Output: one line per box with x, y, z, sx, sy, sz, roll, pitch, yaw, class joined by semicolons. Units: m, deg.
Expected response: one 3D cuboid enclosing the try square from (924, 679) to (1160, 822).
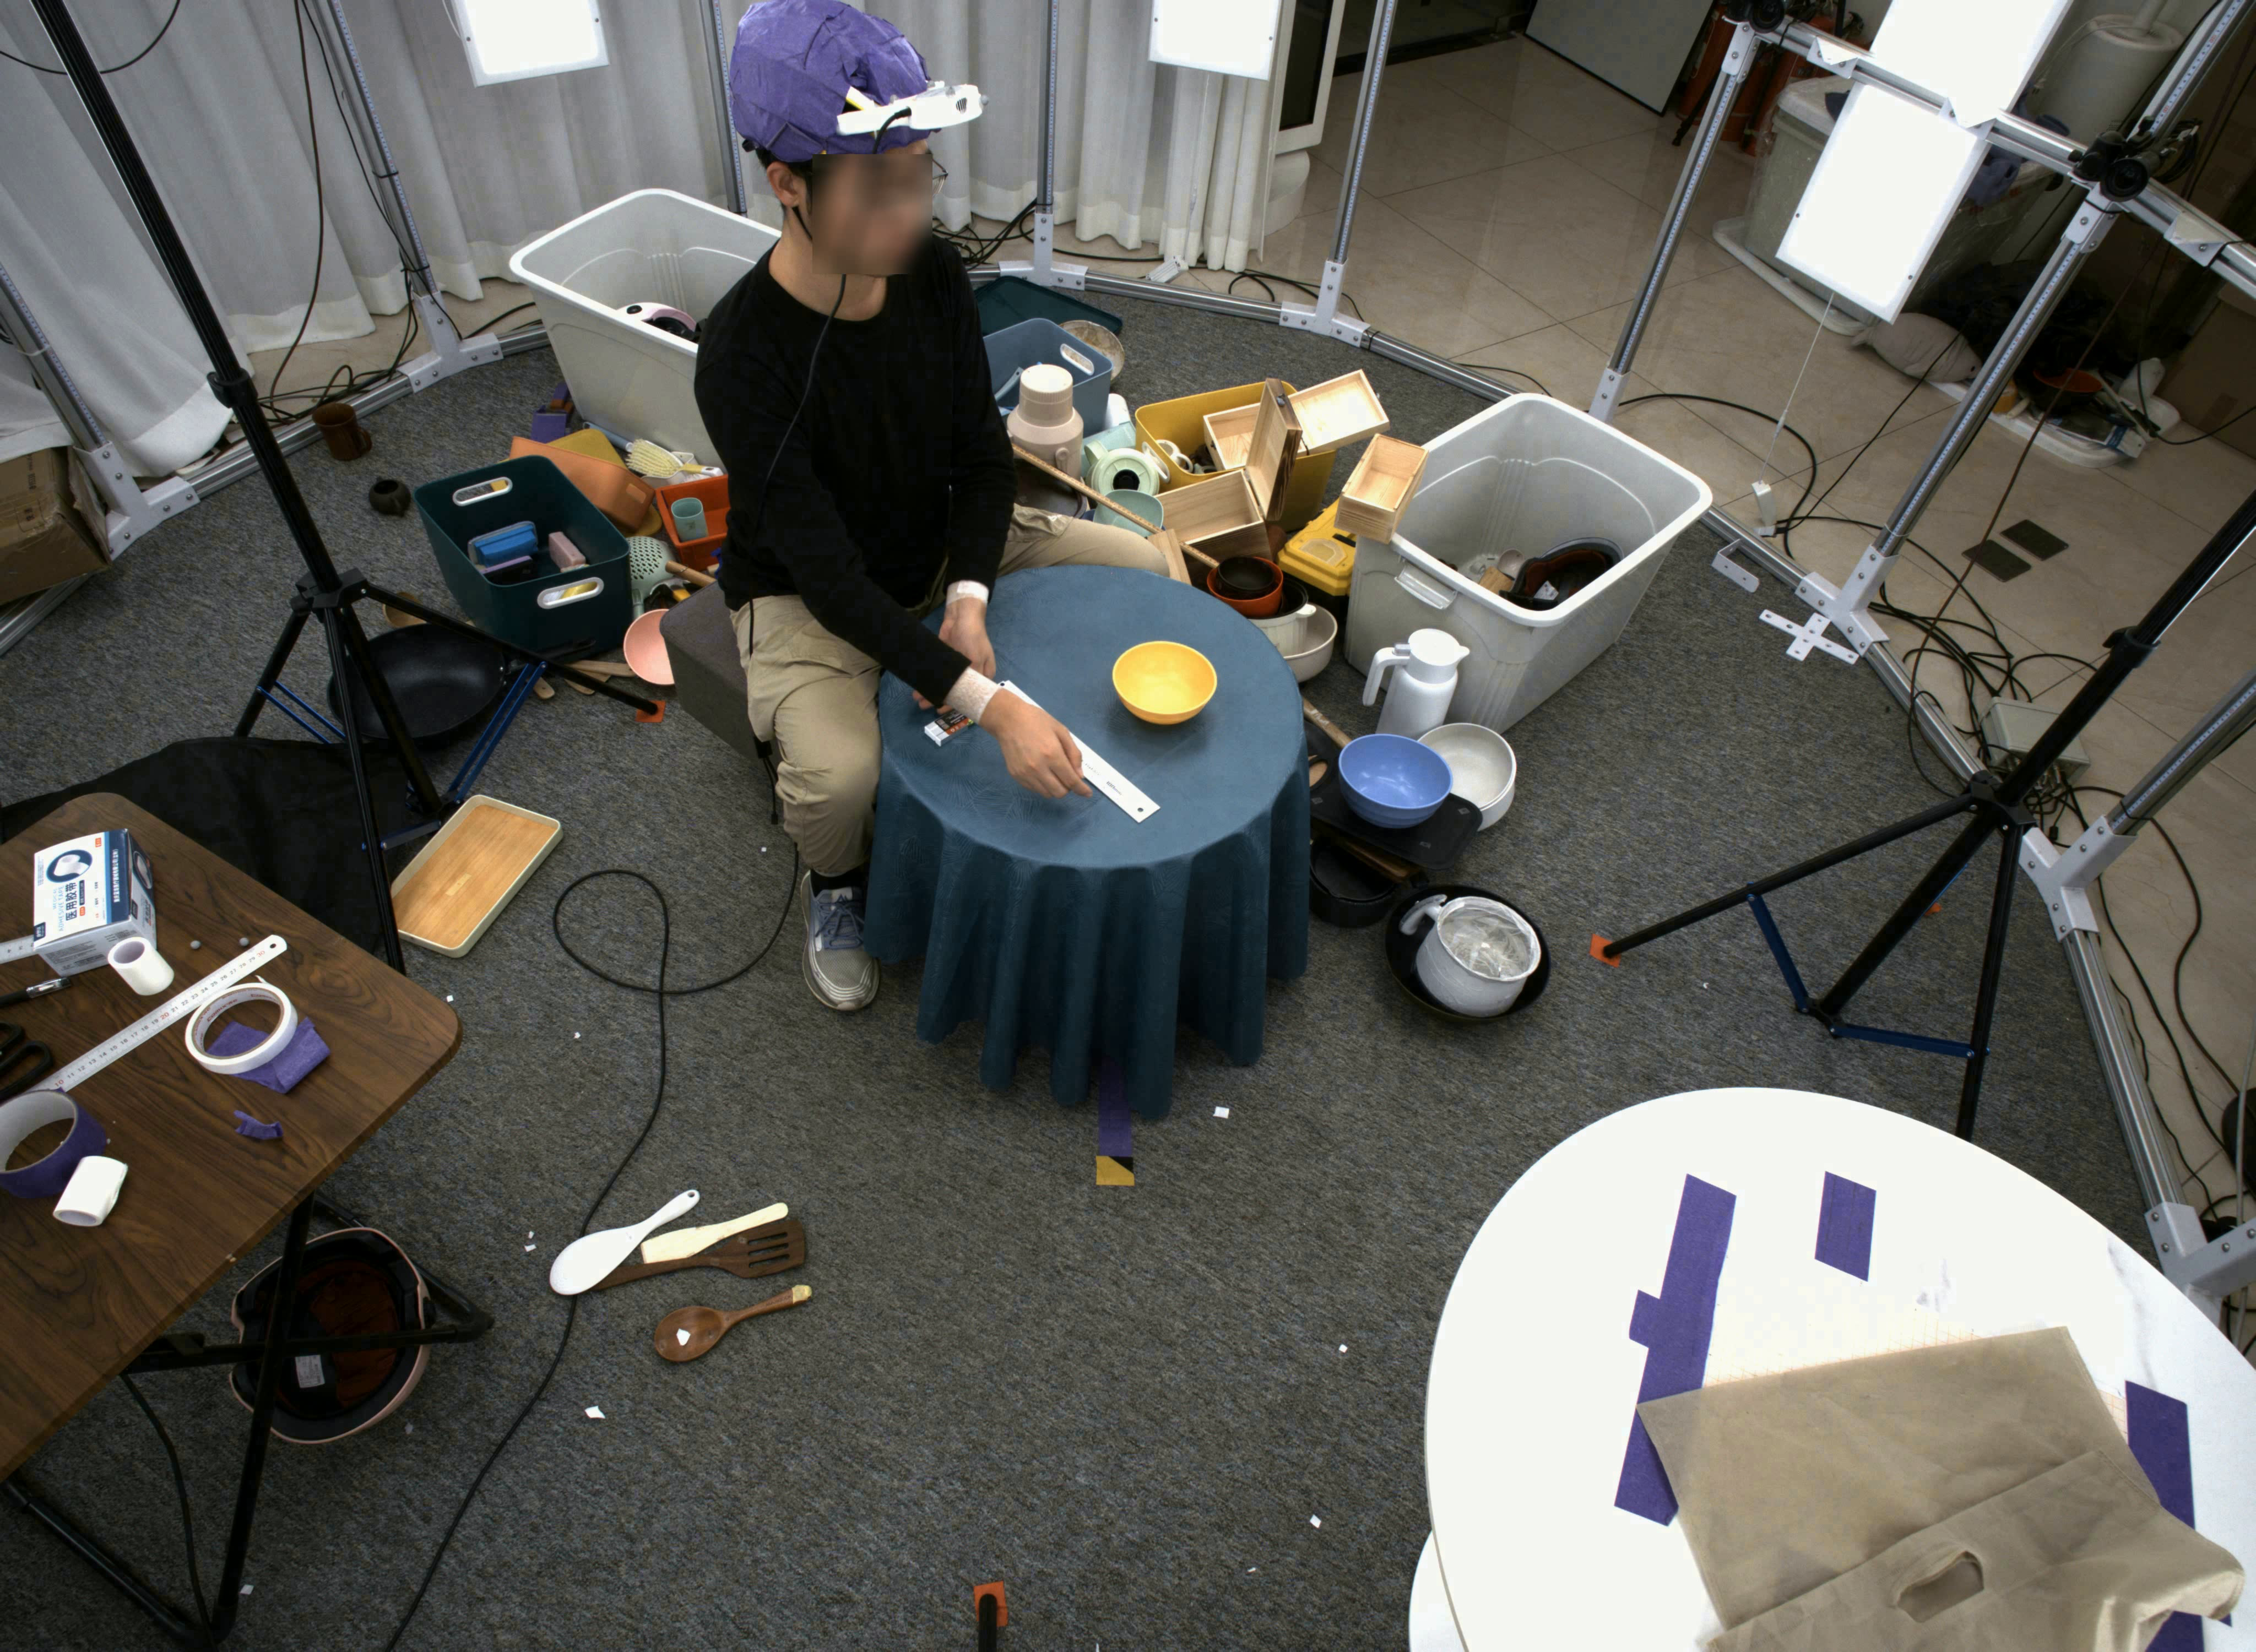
-0.119;-0.080;1.728;0.153;0.015;0.318;-35;60;-27;try square

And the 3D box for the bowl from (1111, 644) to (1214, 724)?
0.047;-0.188;1.800;0.145;0.058;0.149;2;46;-2;bowl
